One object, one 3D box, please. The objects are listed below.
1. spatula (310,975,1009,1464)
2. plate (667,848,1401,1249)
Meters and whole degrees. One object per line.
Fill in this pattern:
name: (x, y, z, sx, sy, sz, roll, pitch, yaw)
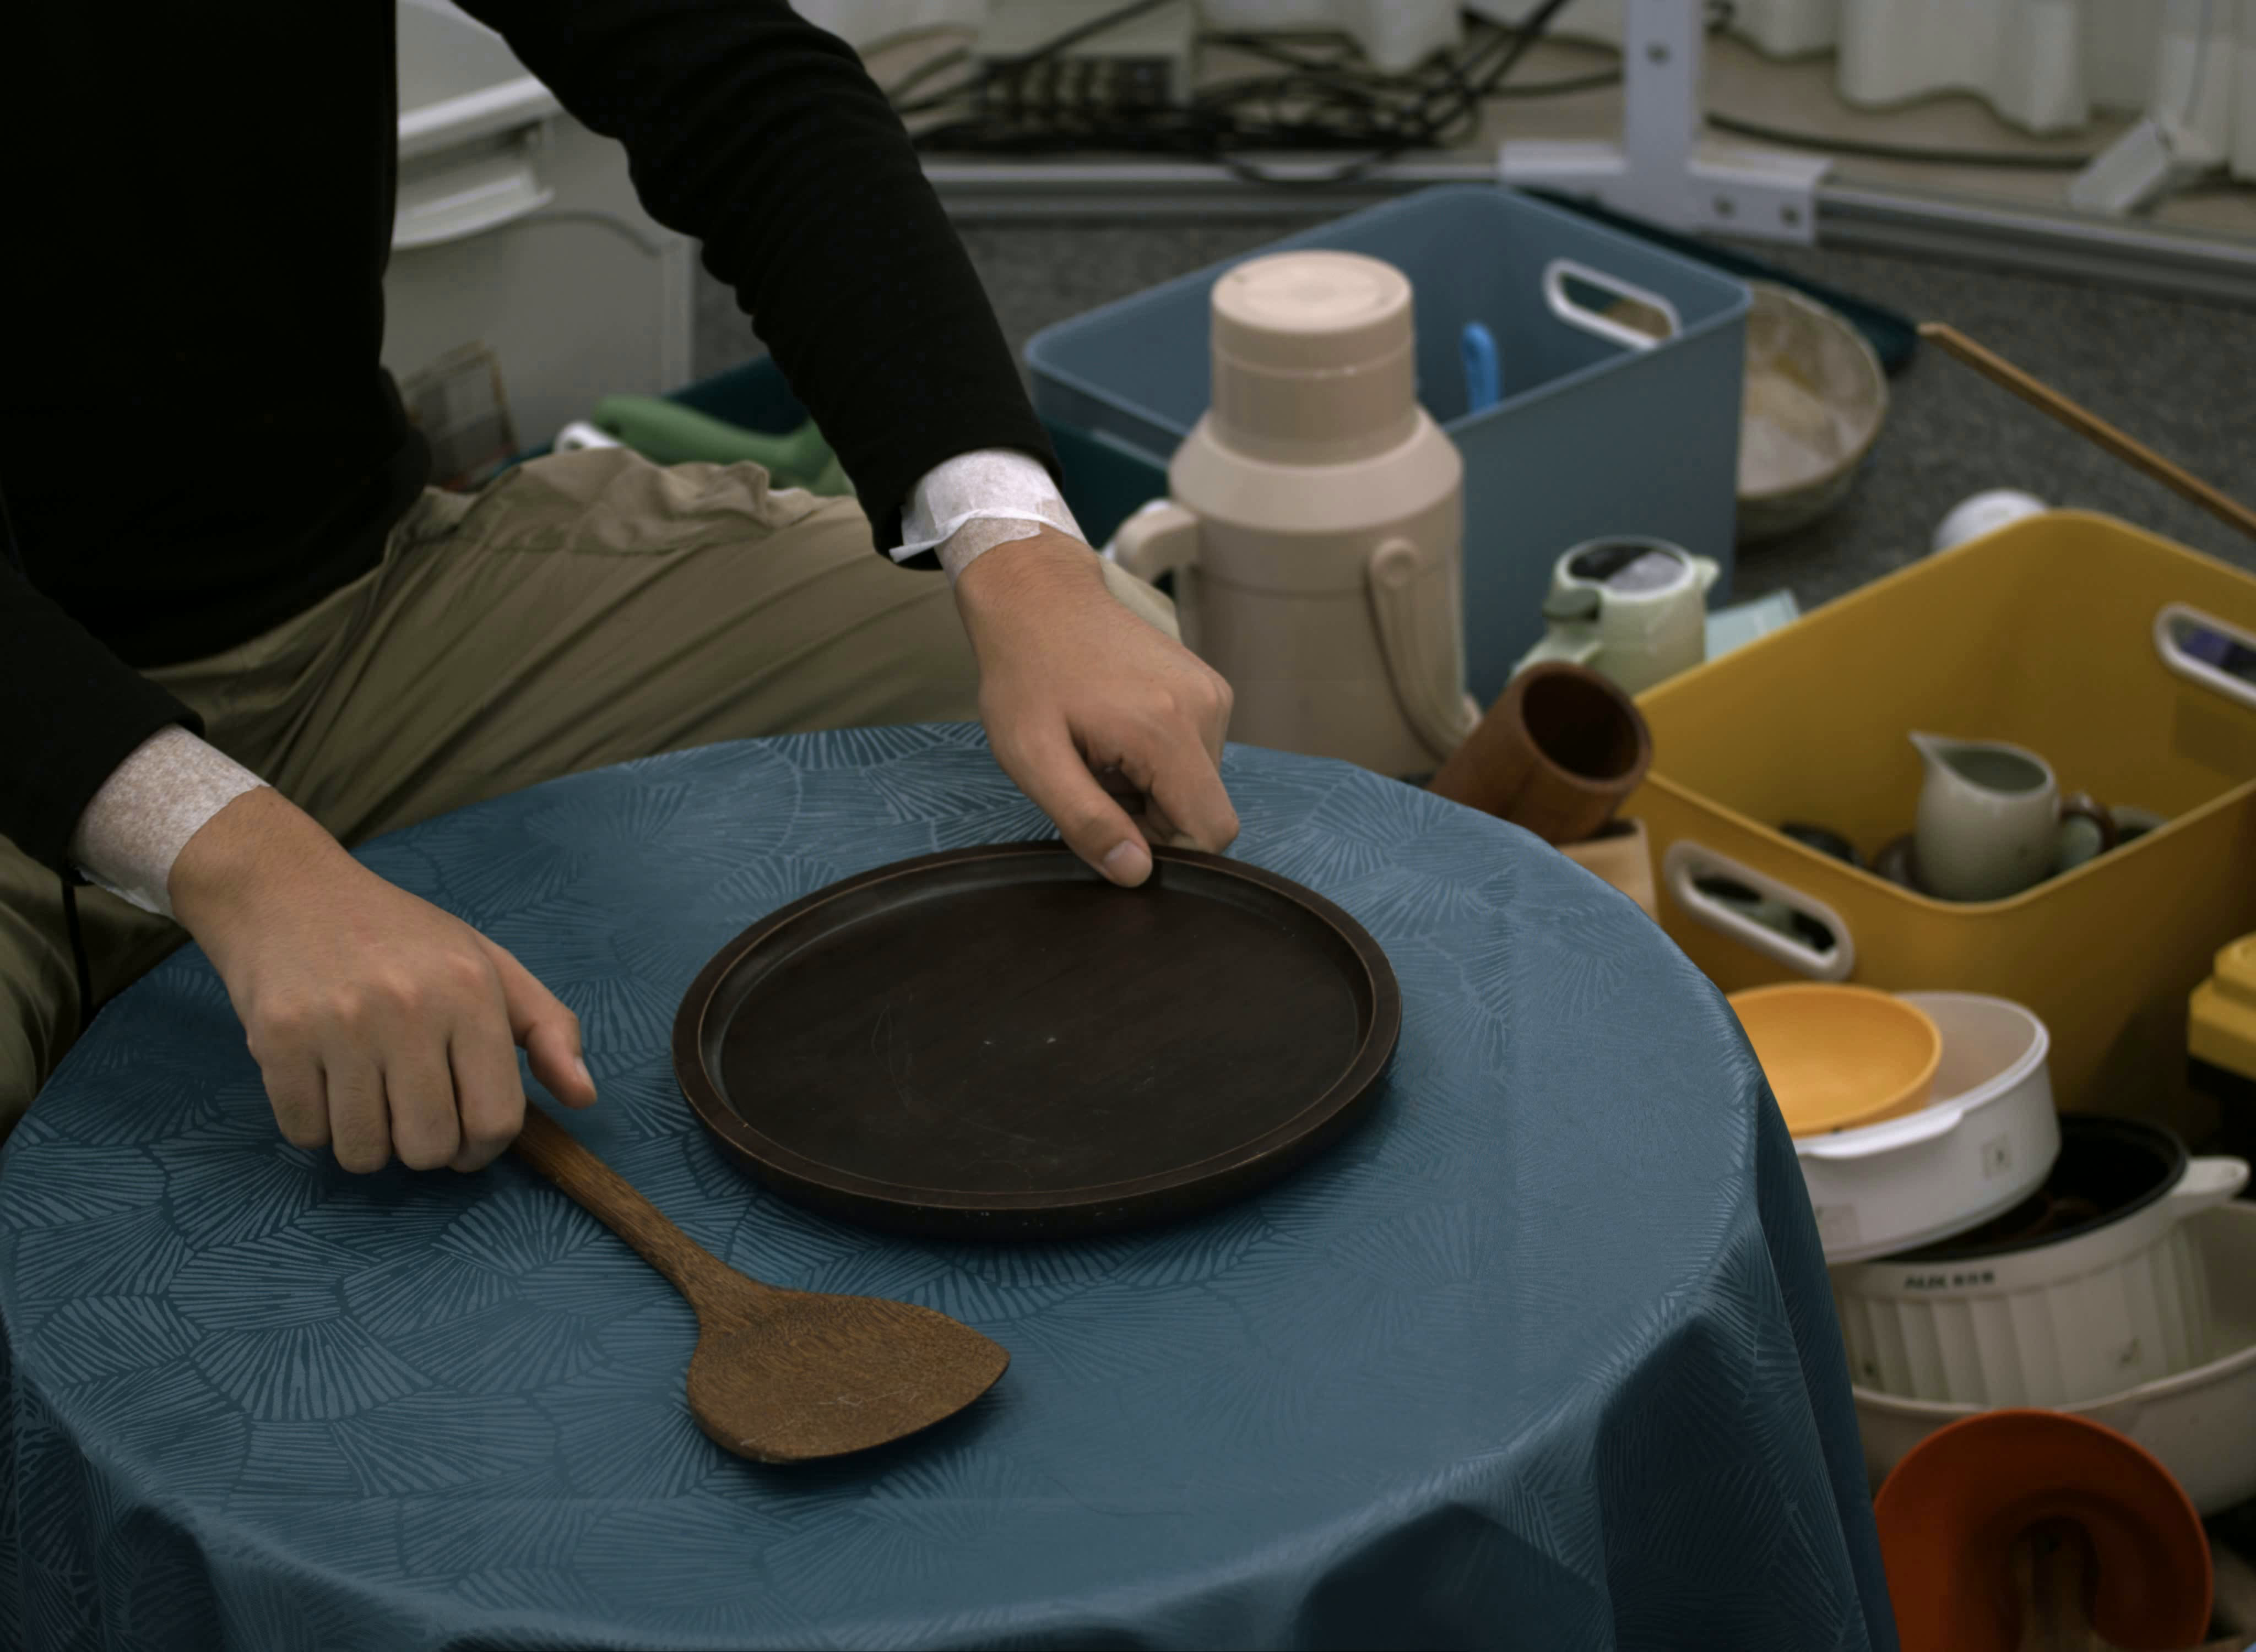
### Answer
spatula: (-0.176, 0.122, 1.863, 0.097, 0.015, 0.387, -19, 31, -30)
plate: (-0.032, 0.074, 1.932, 0.253, 0.029, 0.259, -1, 29, 1)
